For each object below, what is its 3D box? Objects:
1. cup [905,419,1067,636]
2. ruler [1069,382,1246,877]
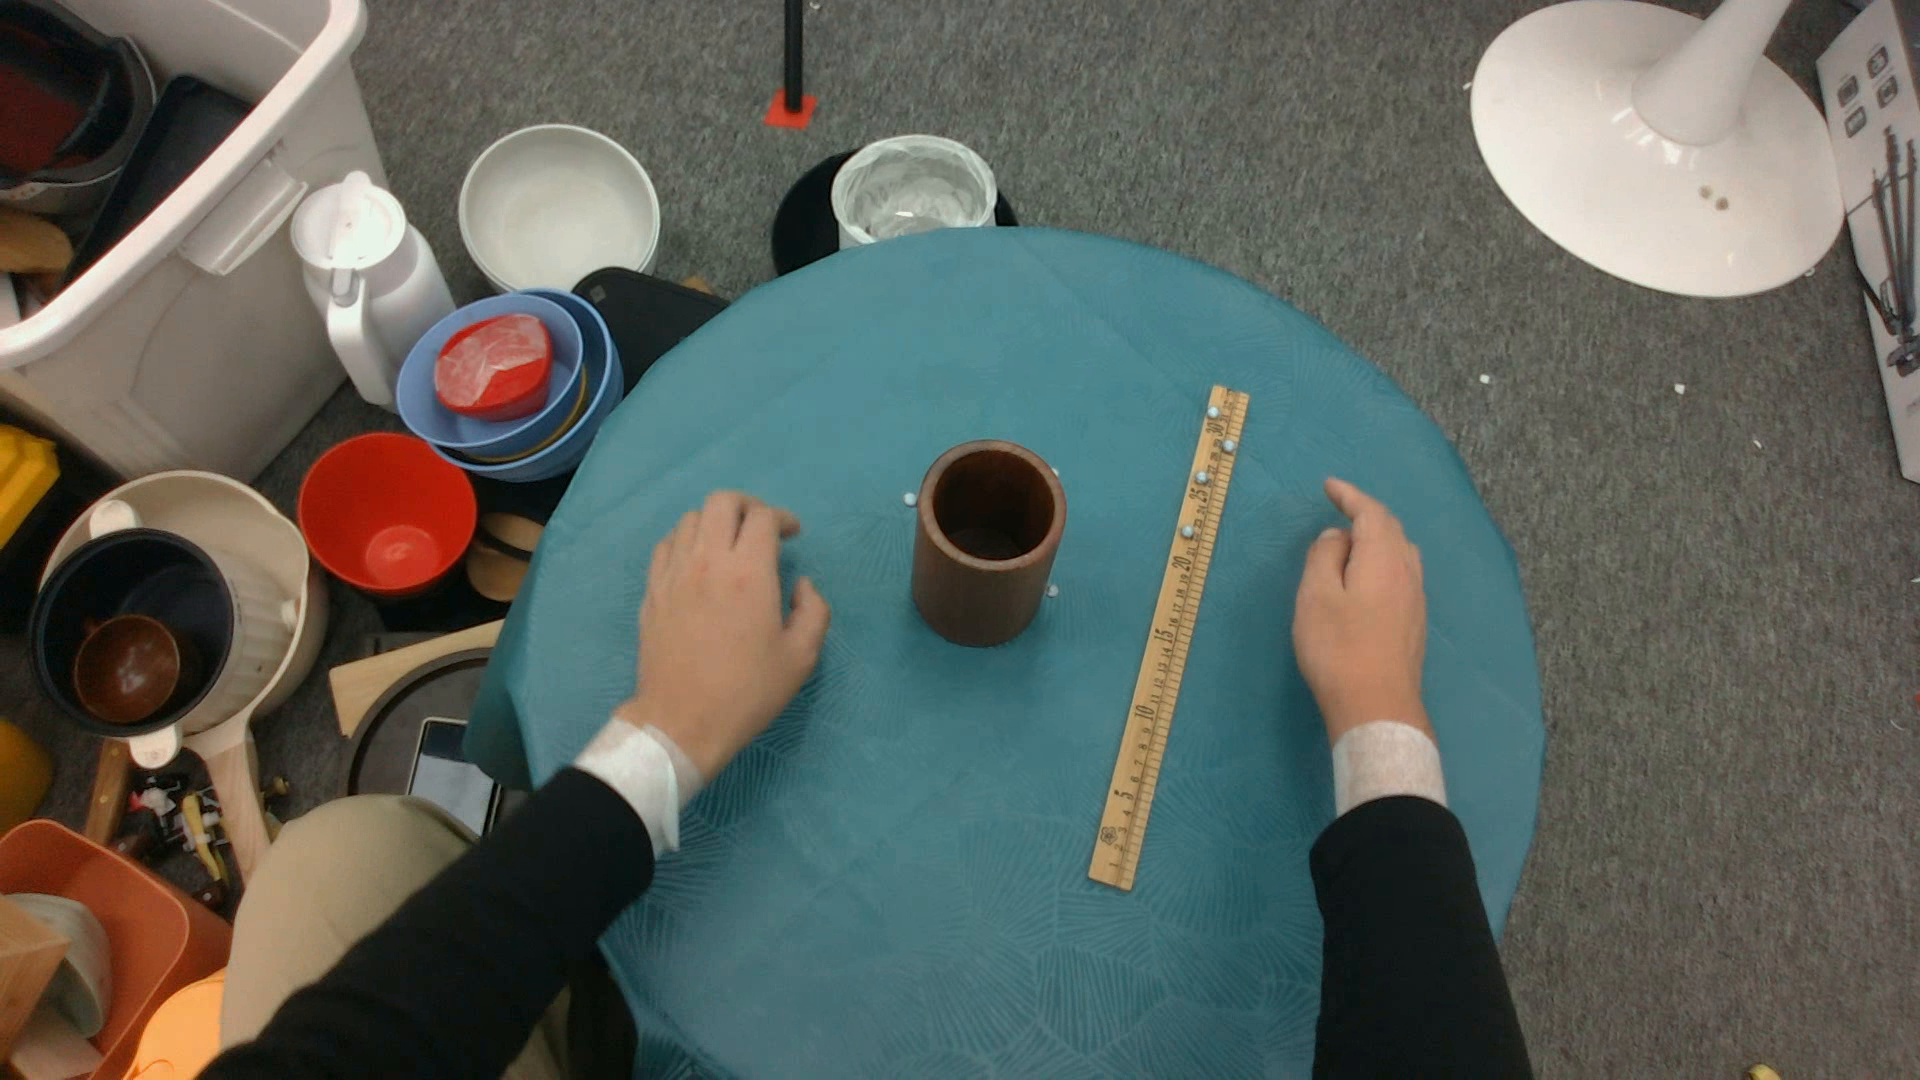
[{"bbox_3d":[0.012,-0.004,0.770,0.088,0.118,0.088,2,64,-4],"label":"cup"},{"bbox_3d":[0.123,0.039,0.819,0.027,0.022,0.333,17,63,7],"label":"ruler"}]
